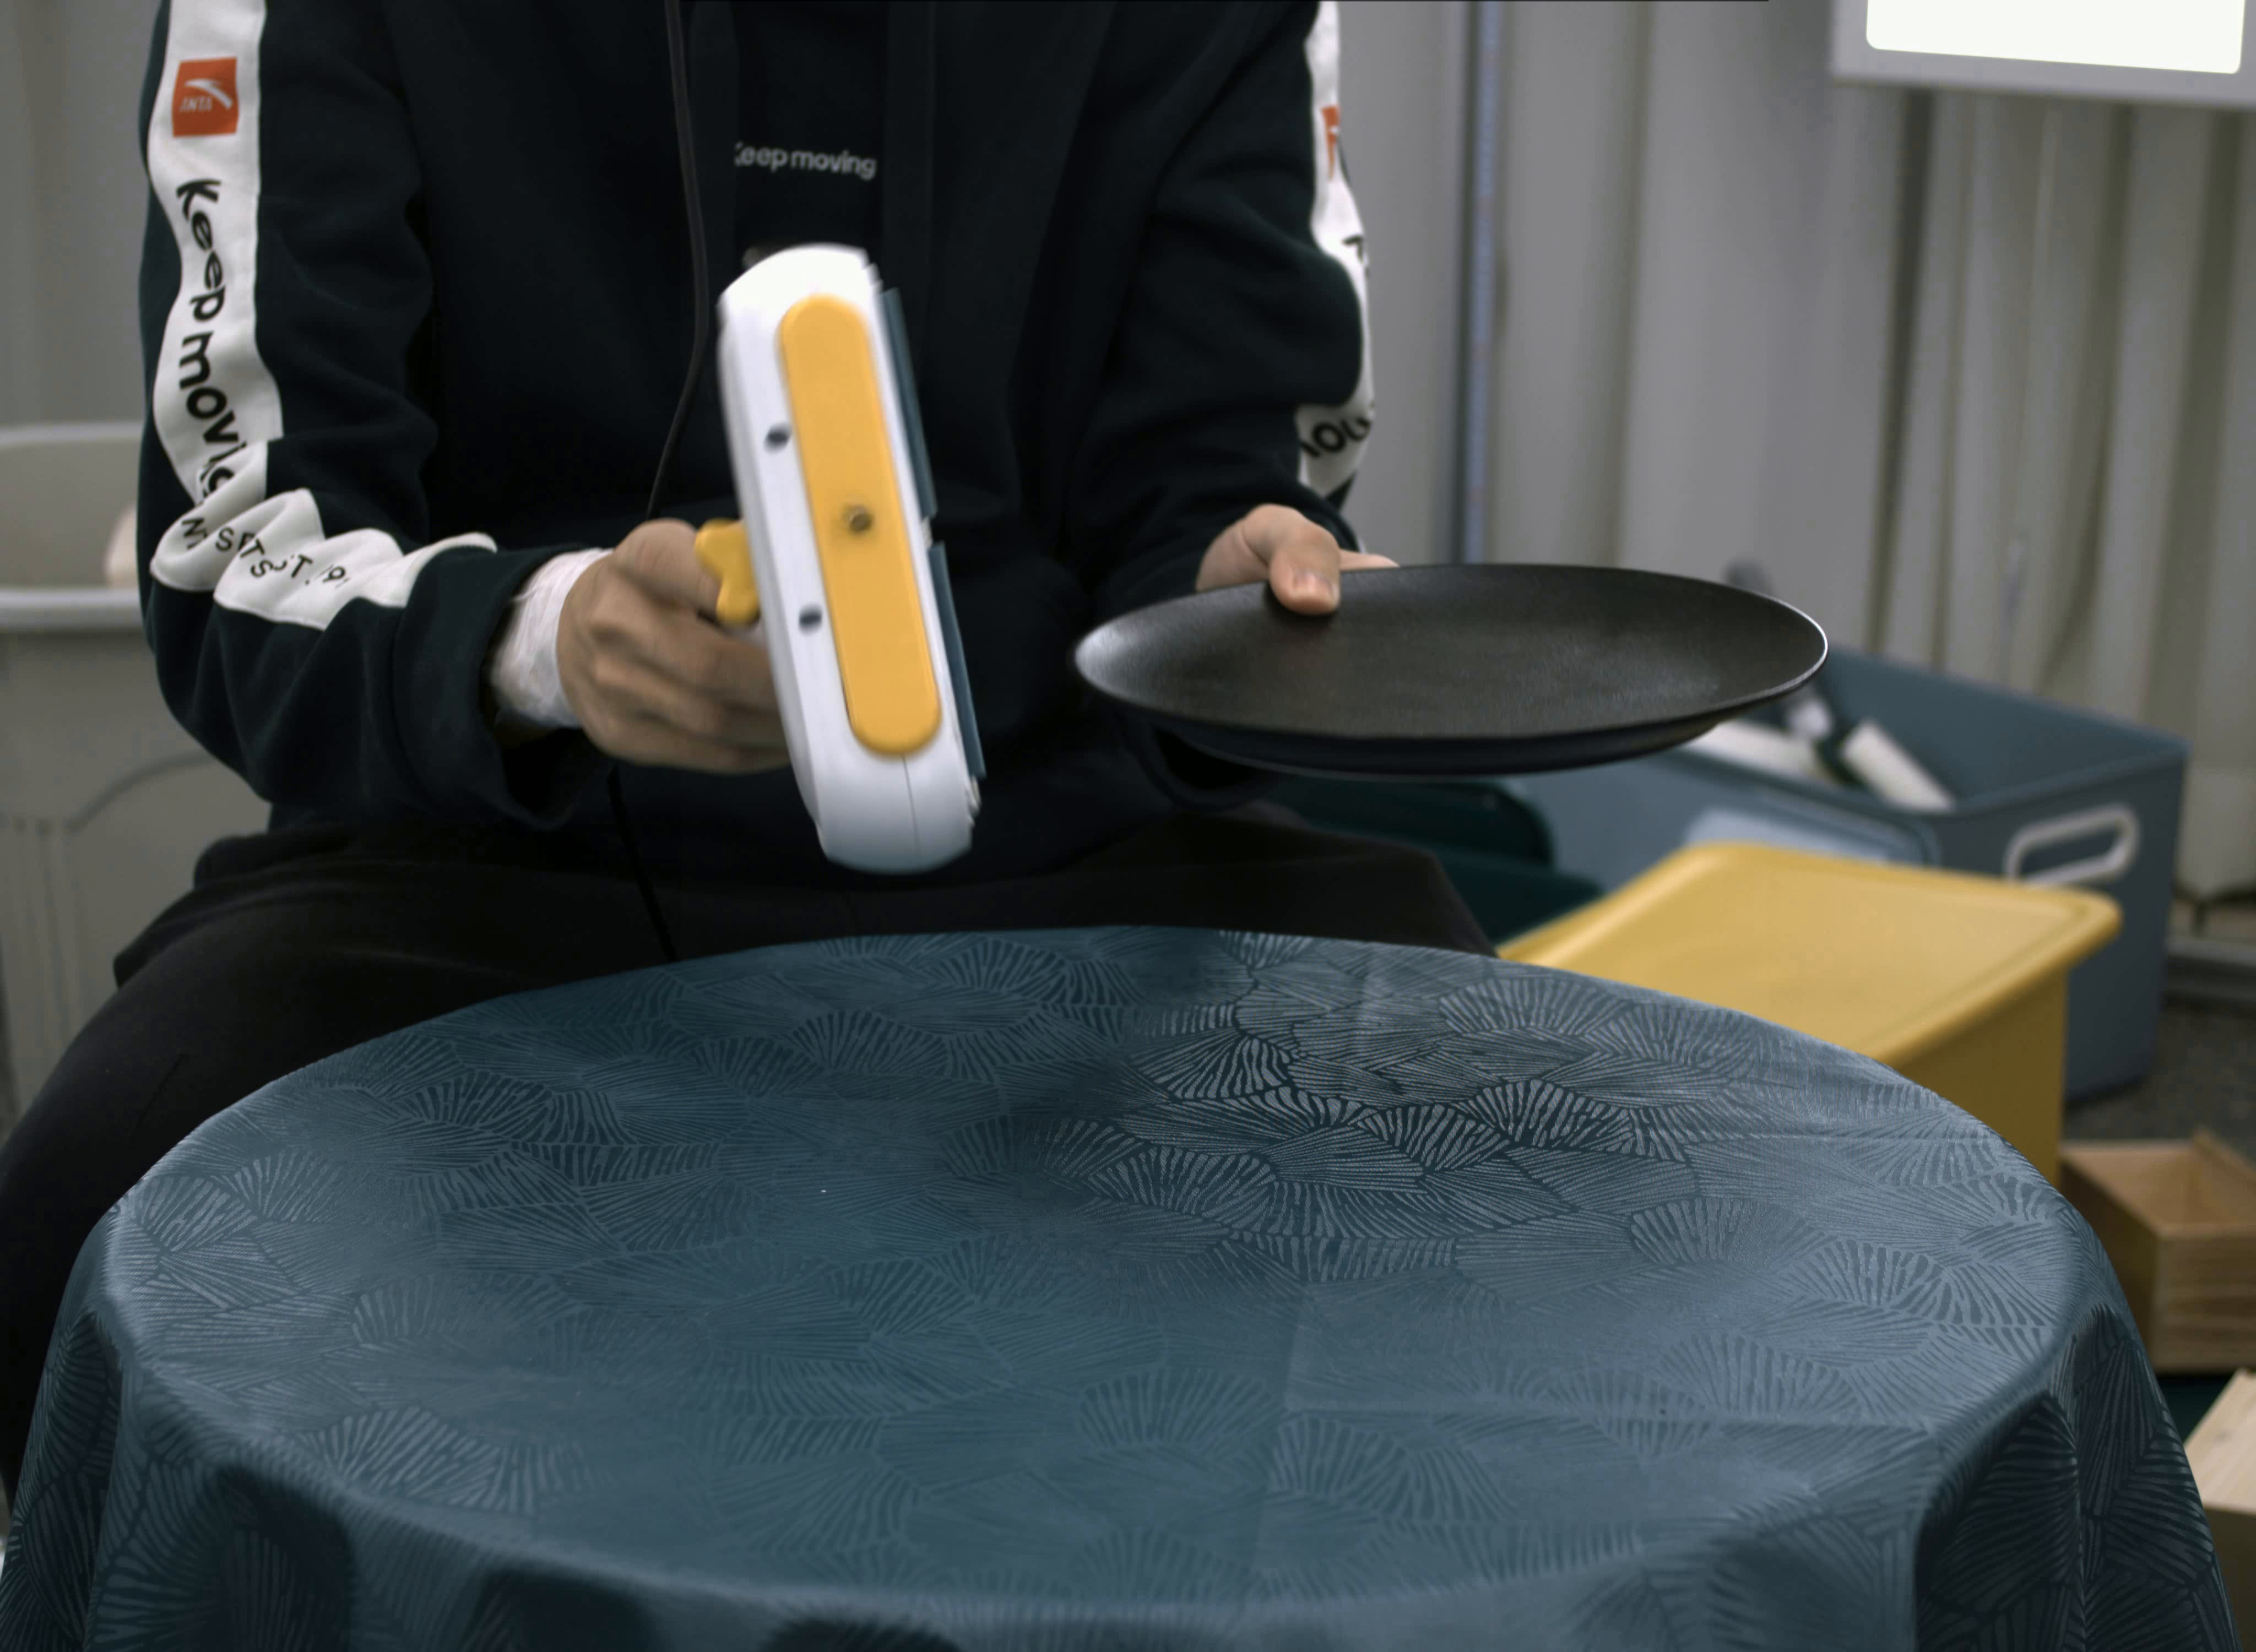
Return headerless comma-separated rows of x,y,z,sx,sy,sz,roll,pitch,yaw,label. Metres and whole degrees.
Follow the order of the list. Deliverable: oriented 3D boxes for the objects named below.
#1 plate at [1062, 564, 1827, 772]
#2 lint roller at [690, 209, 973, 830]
0.101,-0.049,1.682,0.243,0.023,0.243,-1,14,1,plate
-0.099,-0.069,1.629,0.074,0.192,0.193,-12,-19,-13,lint roller
